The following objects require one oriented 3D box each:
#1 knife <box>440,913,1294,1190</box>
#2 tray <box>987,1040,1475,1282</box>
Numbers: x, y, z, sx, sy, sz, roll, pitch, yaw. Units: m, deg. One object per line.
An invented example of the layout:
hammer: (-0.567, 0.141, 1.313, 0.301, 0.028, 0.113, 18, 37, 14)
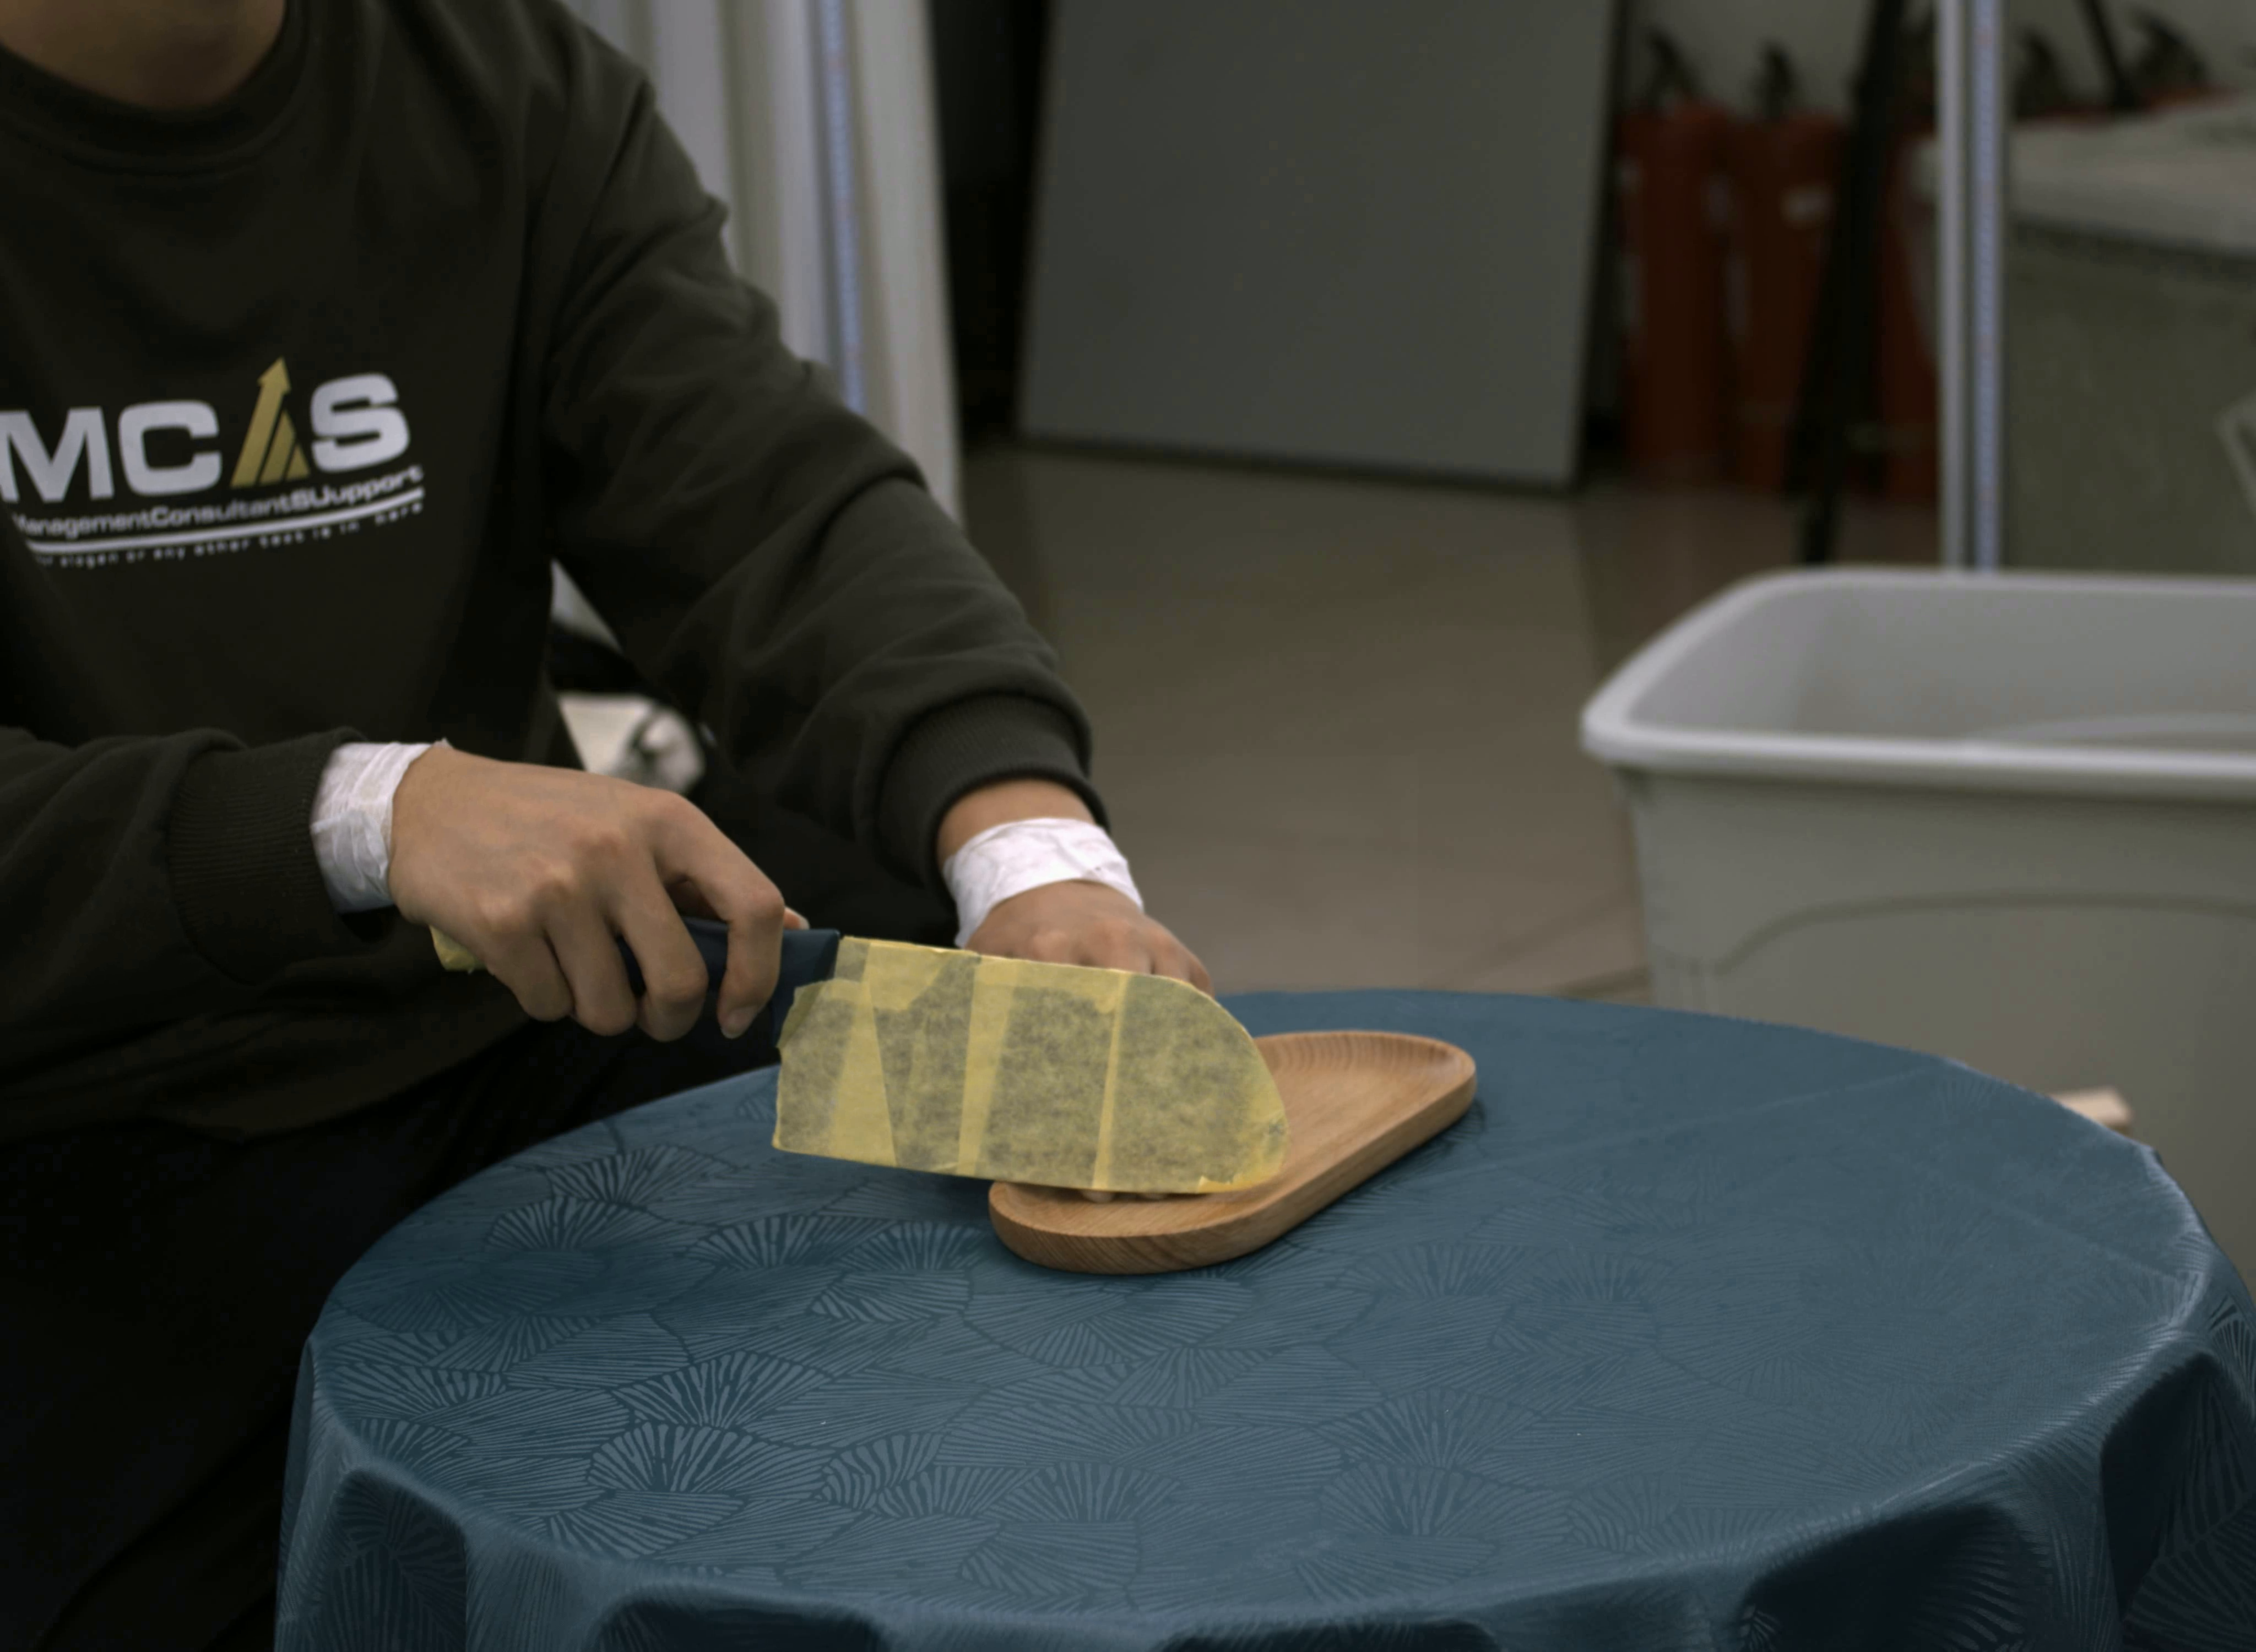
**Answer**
knife: (-0.086, 0.072, 1.751, 0.287, 0.082, 0.027, 9, -4, 8)
tray: (0.037, 0.109, 1.782, 0.102, 0.020, 0.228, 2, 16, 30)
